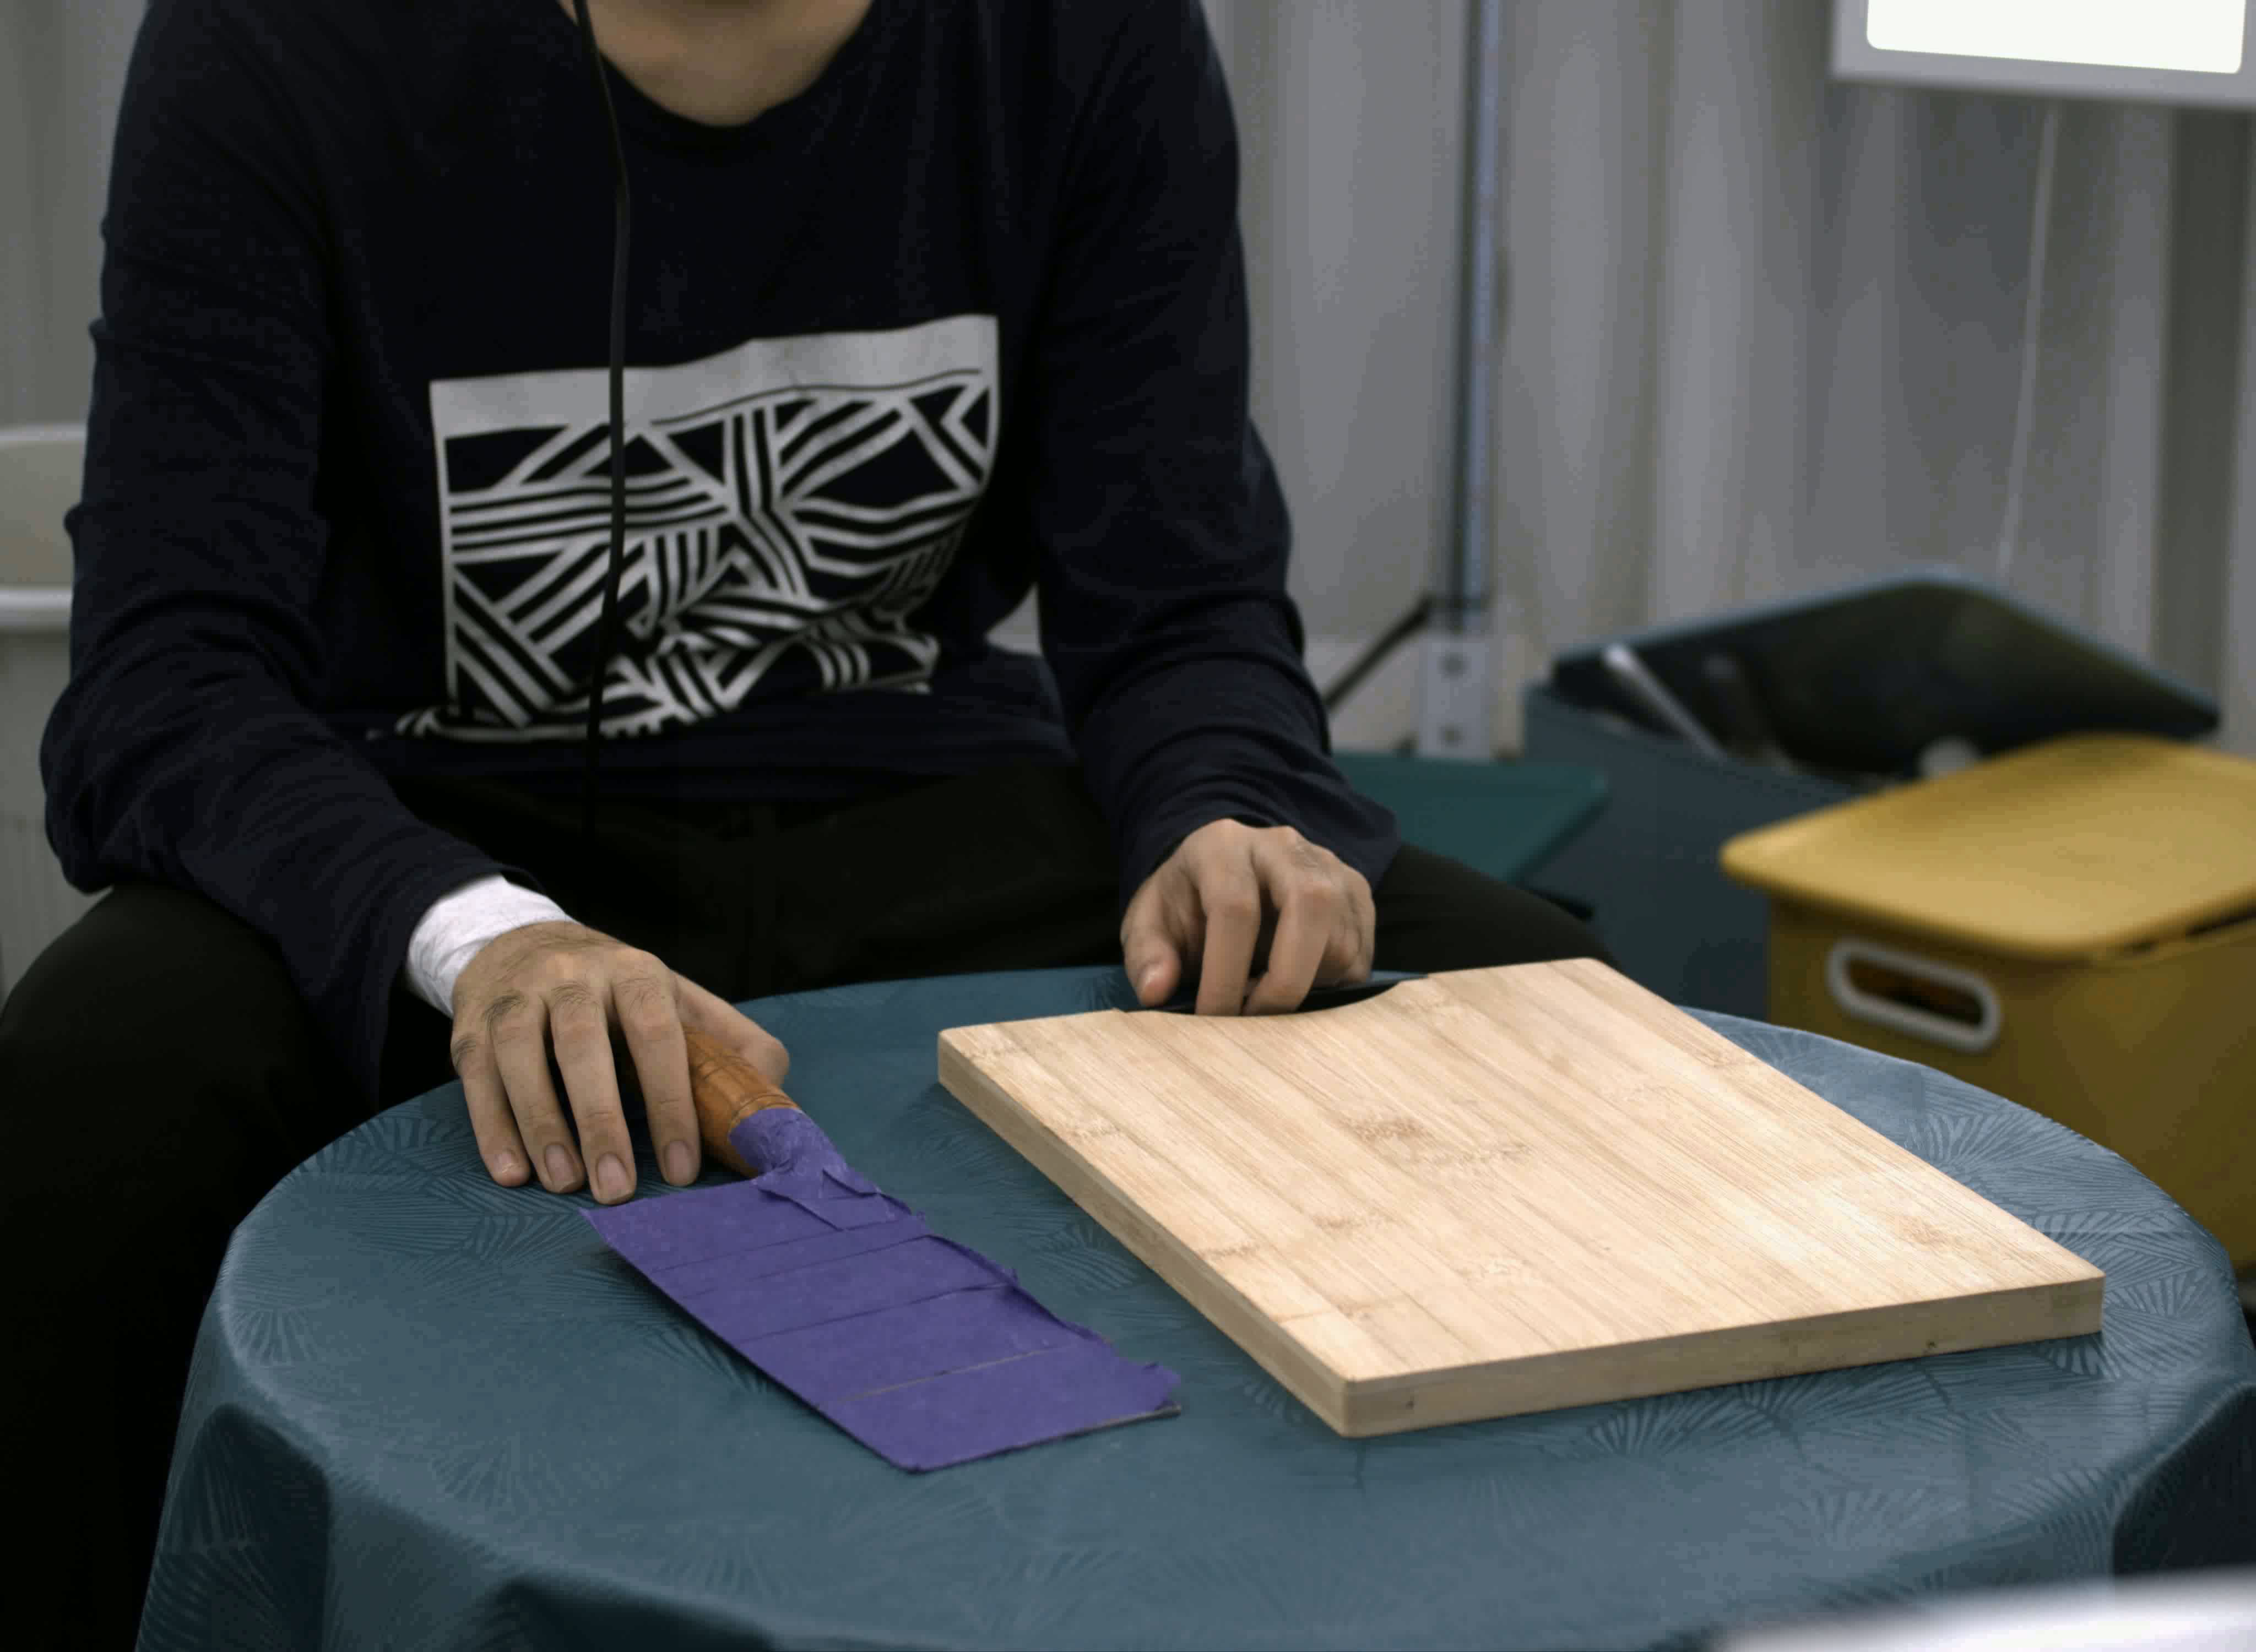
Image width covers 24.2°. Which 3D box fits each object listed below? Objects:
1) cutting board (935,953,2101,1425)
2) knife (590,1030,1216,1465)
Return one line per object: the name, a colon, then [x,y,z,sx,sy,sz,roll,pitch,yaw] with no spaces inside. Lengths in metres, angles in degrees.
cutting board: [0.108,0.105,1.624,0.251,0.024,0.344,-5,16,-21]
knife: [-0.098,0.119,1.545,0.104,0.032,0.311,-8,18,-31]
